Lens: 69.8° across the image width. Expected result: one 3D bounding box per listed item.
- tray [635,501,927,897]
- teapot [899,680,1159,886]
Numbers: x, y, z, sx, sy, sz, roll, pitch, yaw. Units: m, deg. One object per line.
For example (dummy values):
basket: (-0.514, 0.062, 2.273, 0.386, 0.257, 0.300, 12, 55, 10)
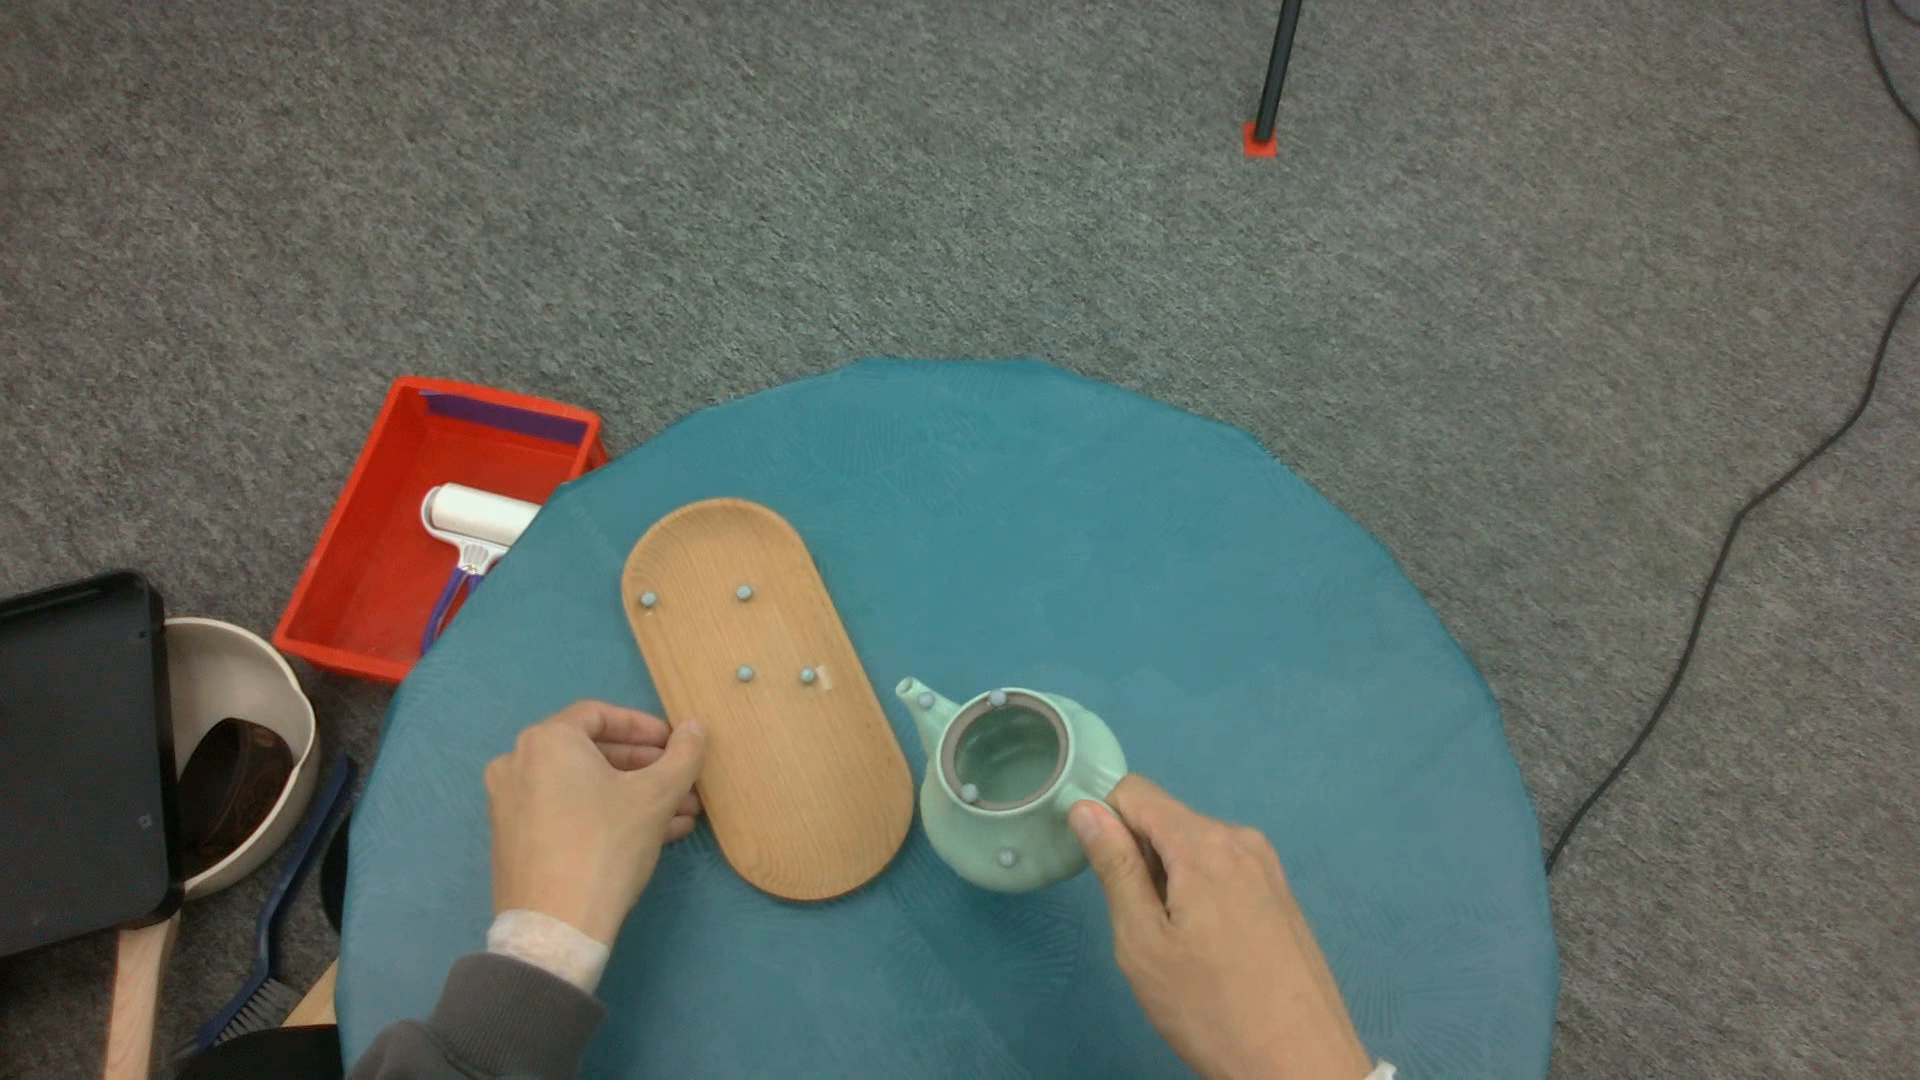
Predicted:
tray: (-0.097, 0.079, 0.731, 0.102, 0.020, 0.231, -23, 68, -12)
teapot: (0.033, 0.107, 0.626, 0.137, 0.061, 0.096, 25, 63, 33)
